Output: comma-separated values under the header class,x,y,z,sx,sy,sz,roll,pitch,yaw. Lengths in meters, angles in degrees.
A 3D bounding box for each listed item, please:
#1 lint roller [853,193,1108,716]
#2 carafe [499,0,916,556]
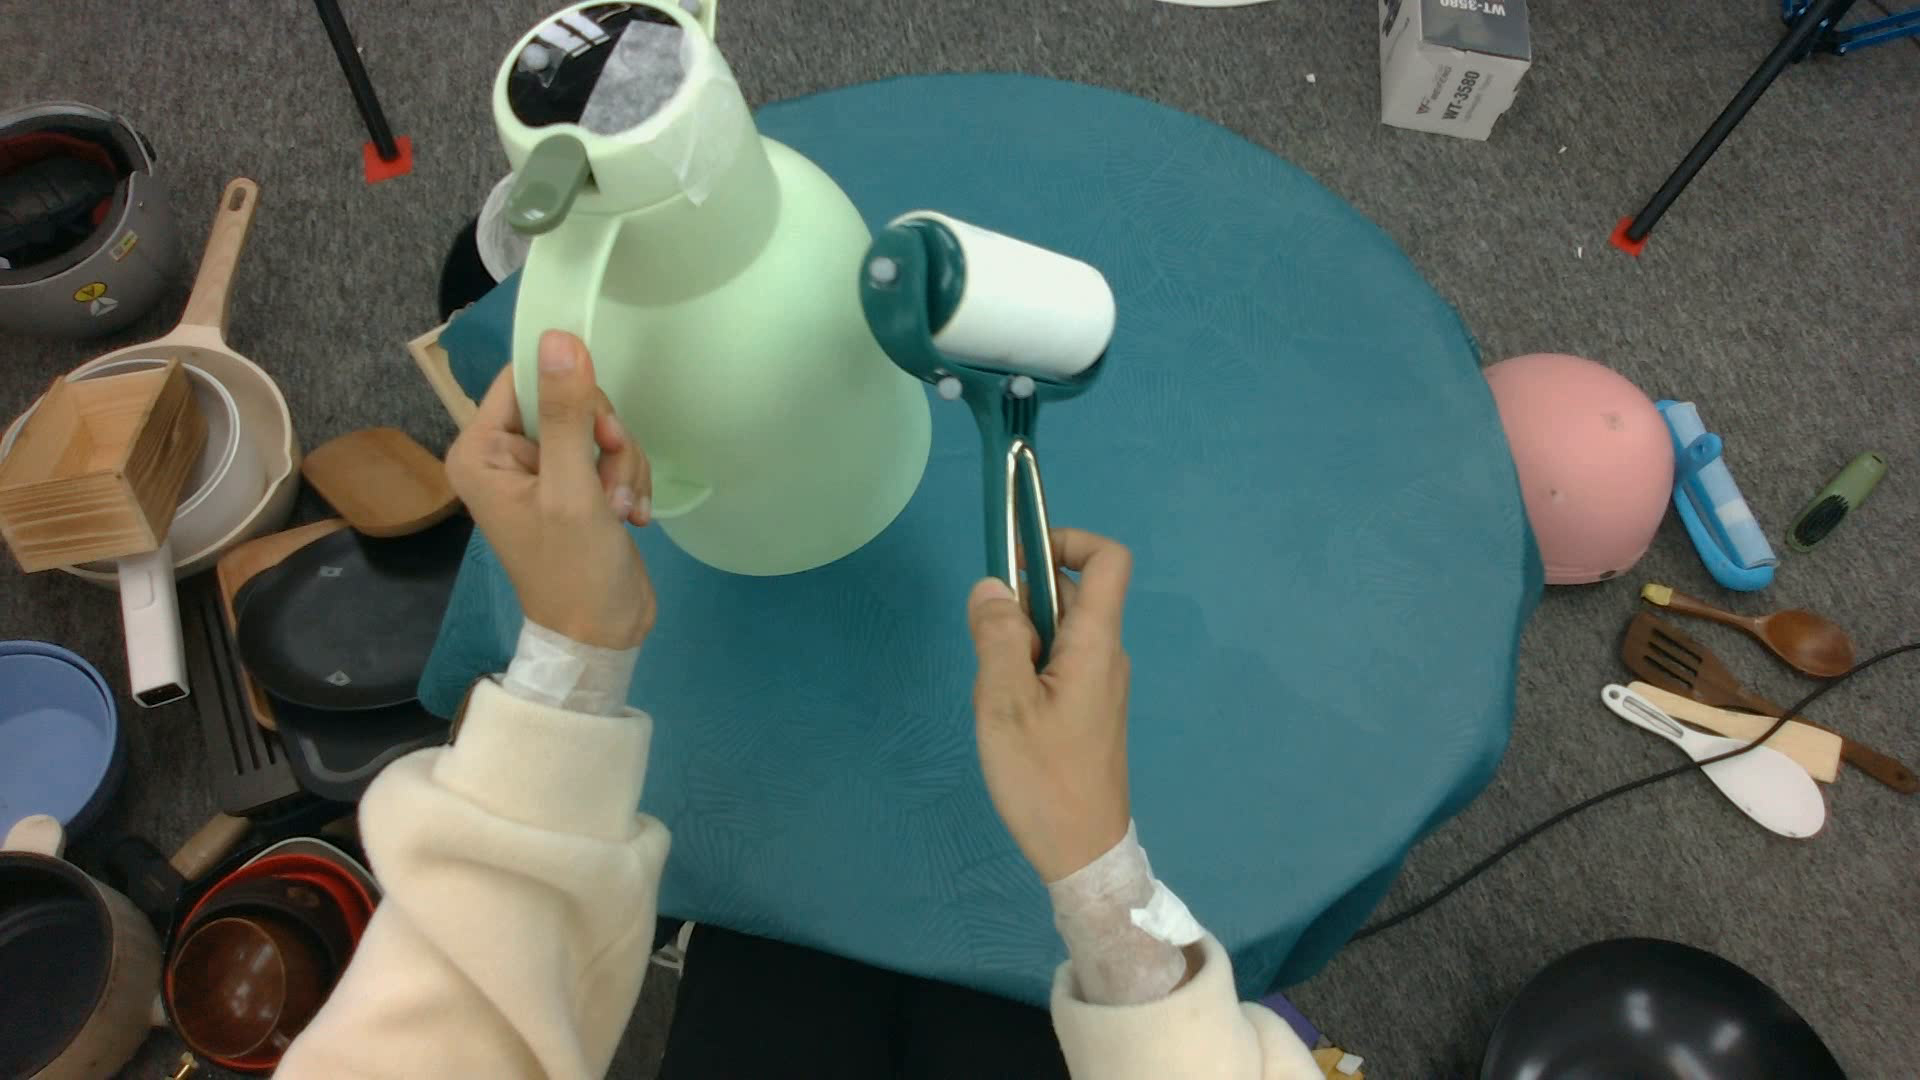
class,x,y,z,sx,sy,sz,roll,pitch,yaw
lint roller,0.024,-0.029,0.497,0.134,0.048,0.180,0,75,-56
carafe,-0.109,-0.092,0.566,0.144,0.256,0.187,11,69,12
